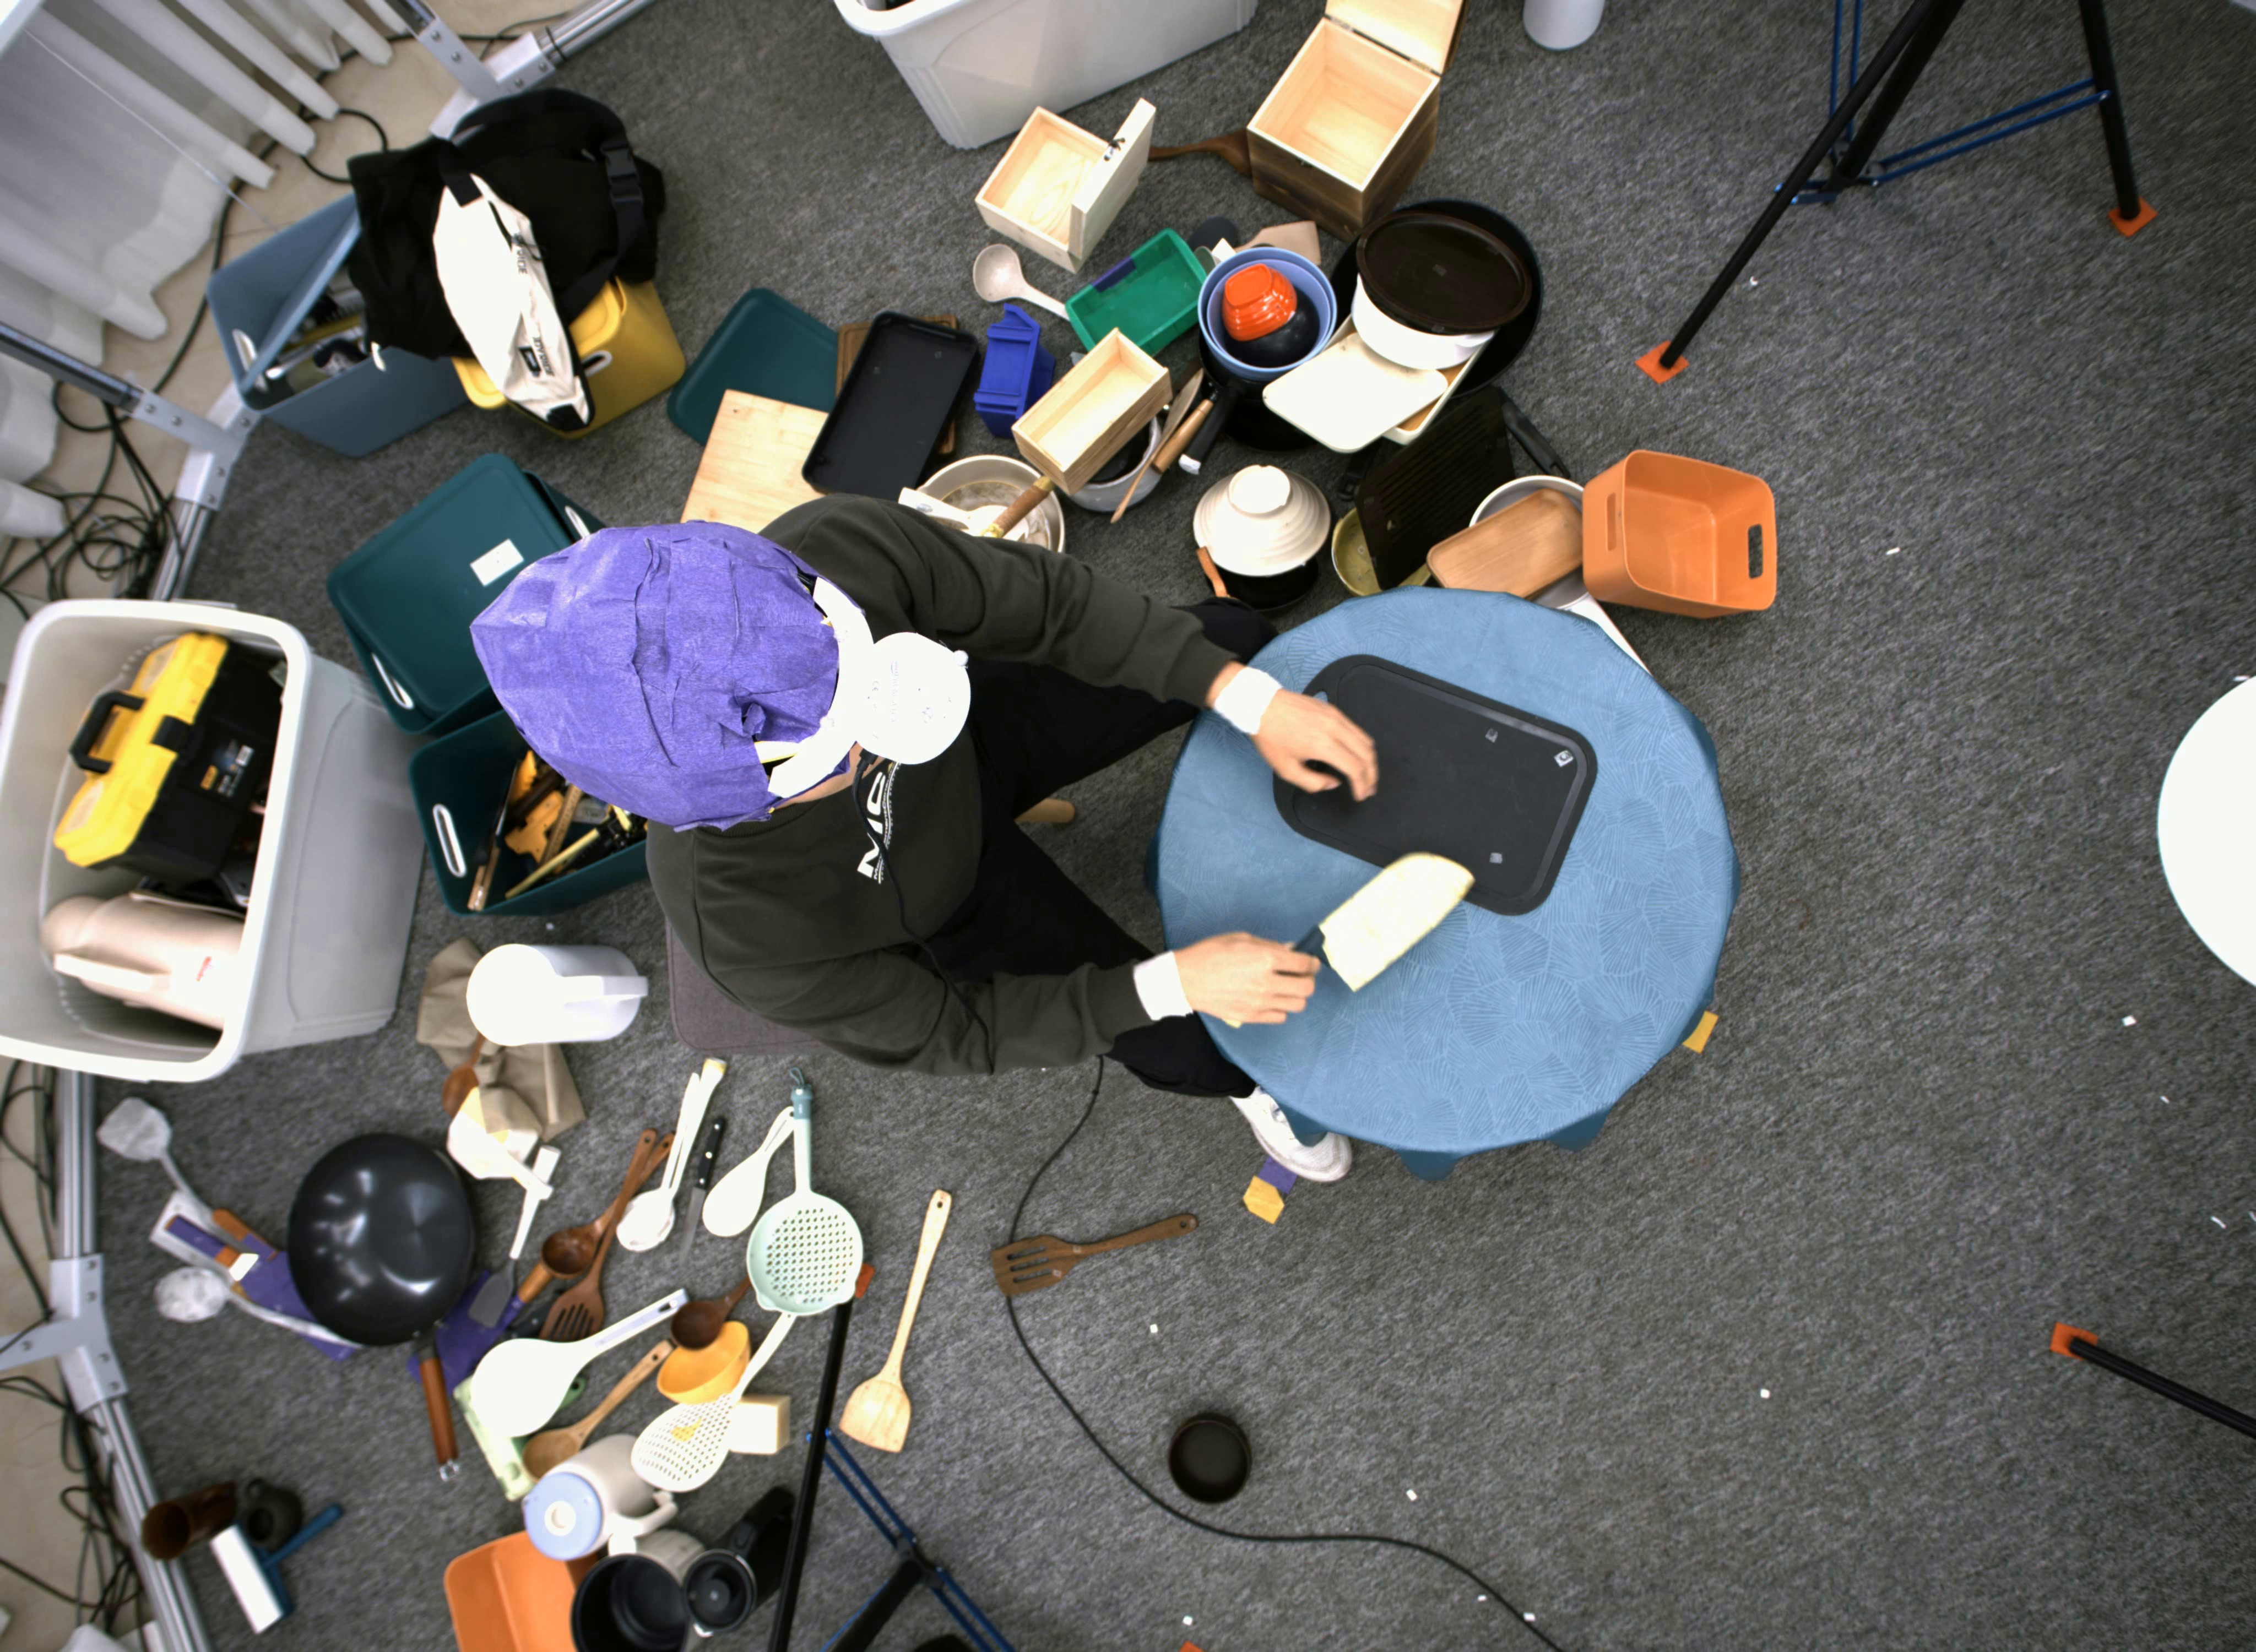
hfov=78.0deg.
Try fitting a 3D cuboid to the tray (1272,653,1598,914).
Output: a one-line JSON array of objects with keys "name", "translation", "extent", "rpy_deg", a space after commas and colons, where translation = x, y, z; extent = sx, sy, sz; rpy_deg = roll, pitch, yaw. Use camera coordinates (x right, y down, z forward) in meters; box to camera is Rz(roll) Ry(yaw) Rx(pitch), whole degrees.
[{"name": "tray", "translation": [0.316, -0.052, 1.455], "extent": [0.325, 0.010, 0.211], "rpy_deg": [22, 91, 11]}]

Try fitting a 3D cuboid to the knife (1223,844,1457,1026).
[{"name": "knife", "translation": [0.218, 0.115, 1.395], "extent": [0.289, 0.027, 0.081], "rpy_deg": [-37, 85, -2]}]
